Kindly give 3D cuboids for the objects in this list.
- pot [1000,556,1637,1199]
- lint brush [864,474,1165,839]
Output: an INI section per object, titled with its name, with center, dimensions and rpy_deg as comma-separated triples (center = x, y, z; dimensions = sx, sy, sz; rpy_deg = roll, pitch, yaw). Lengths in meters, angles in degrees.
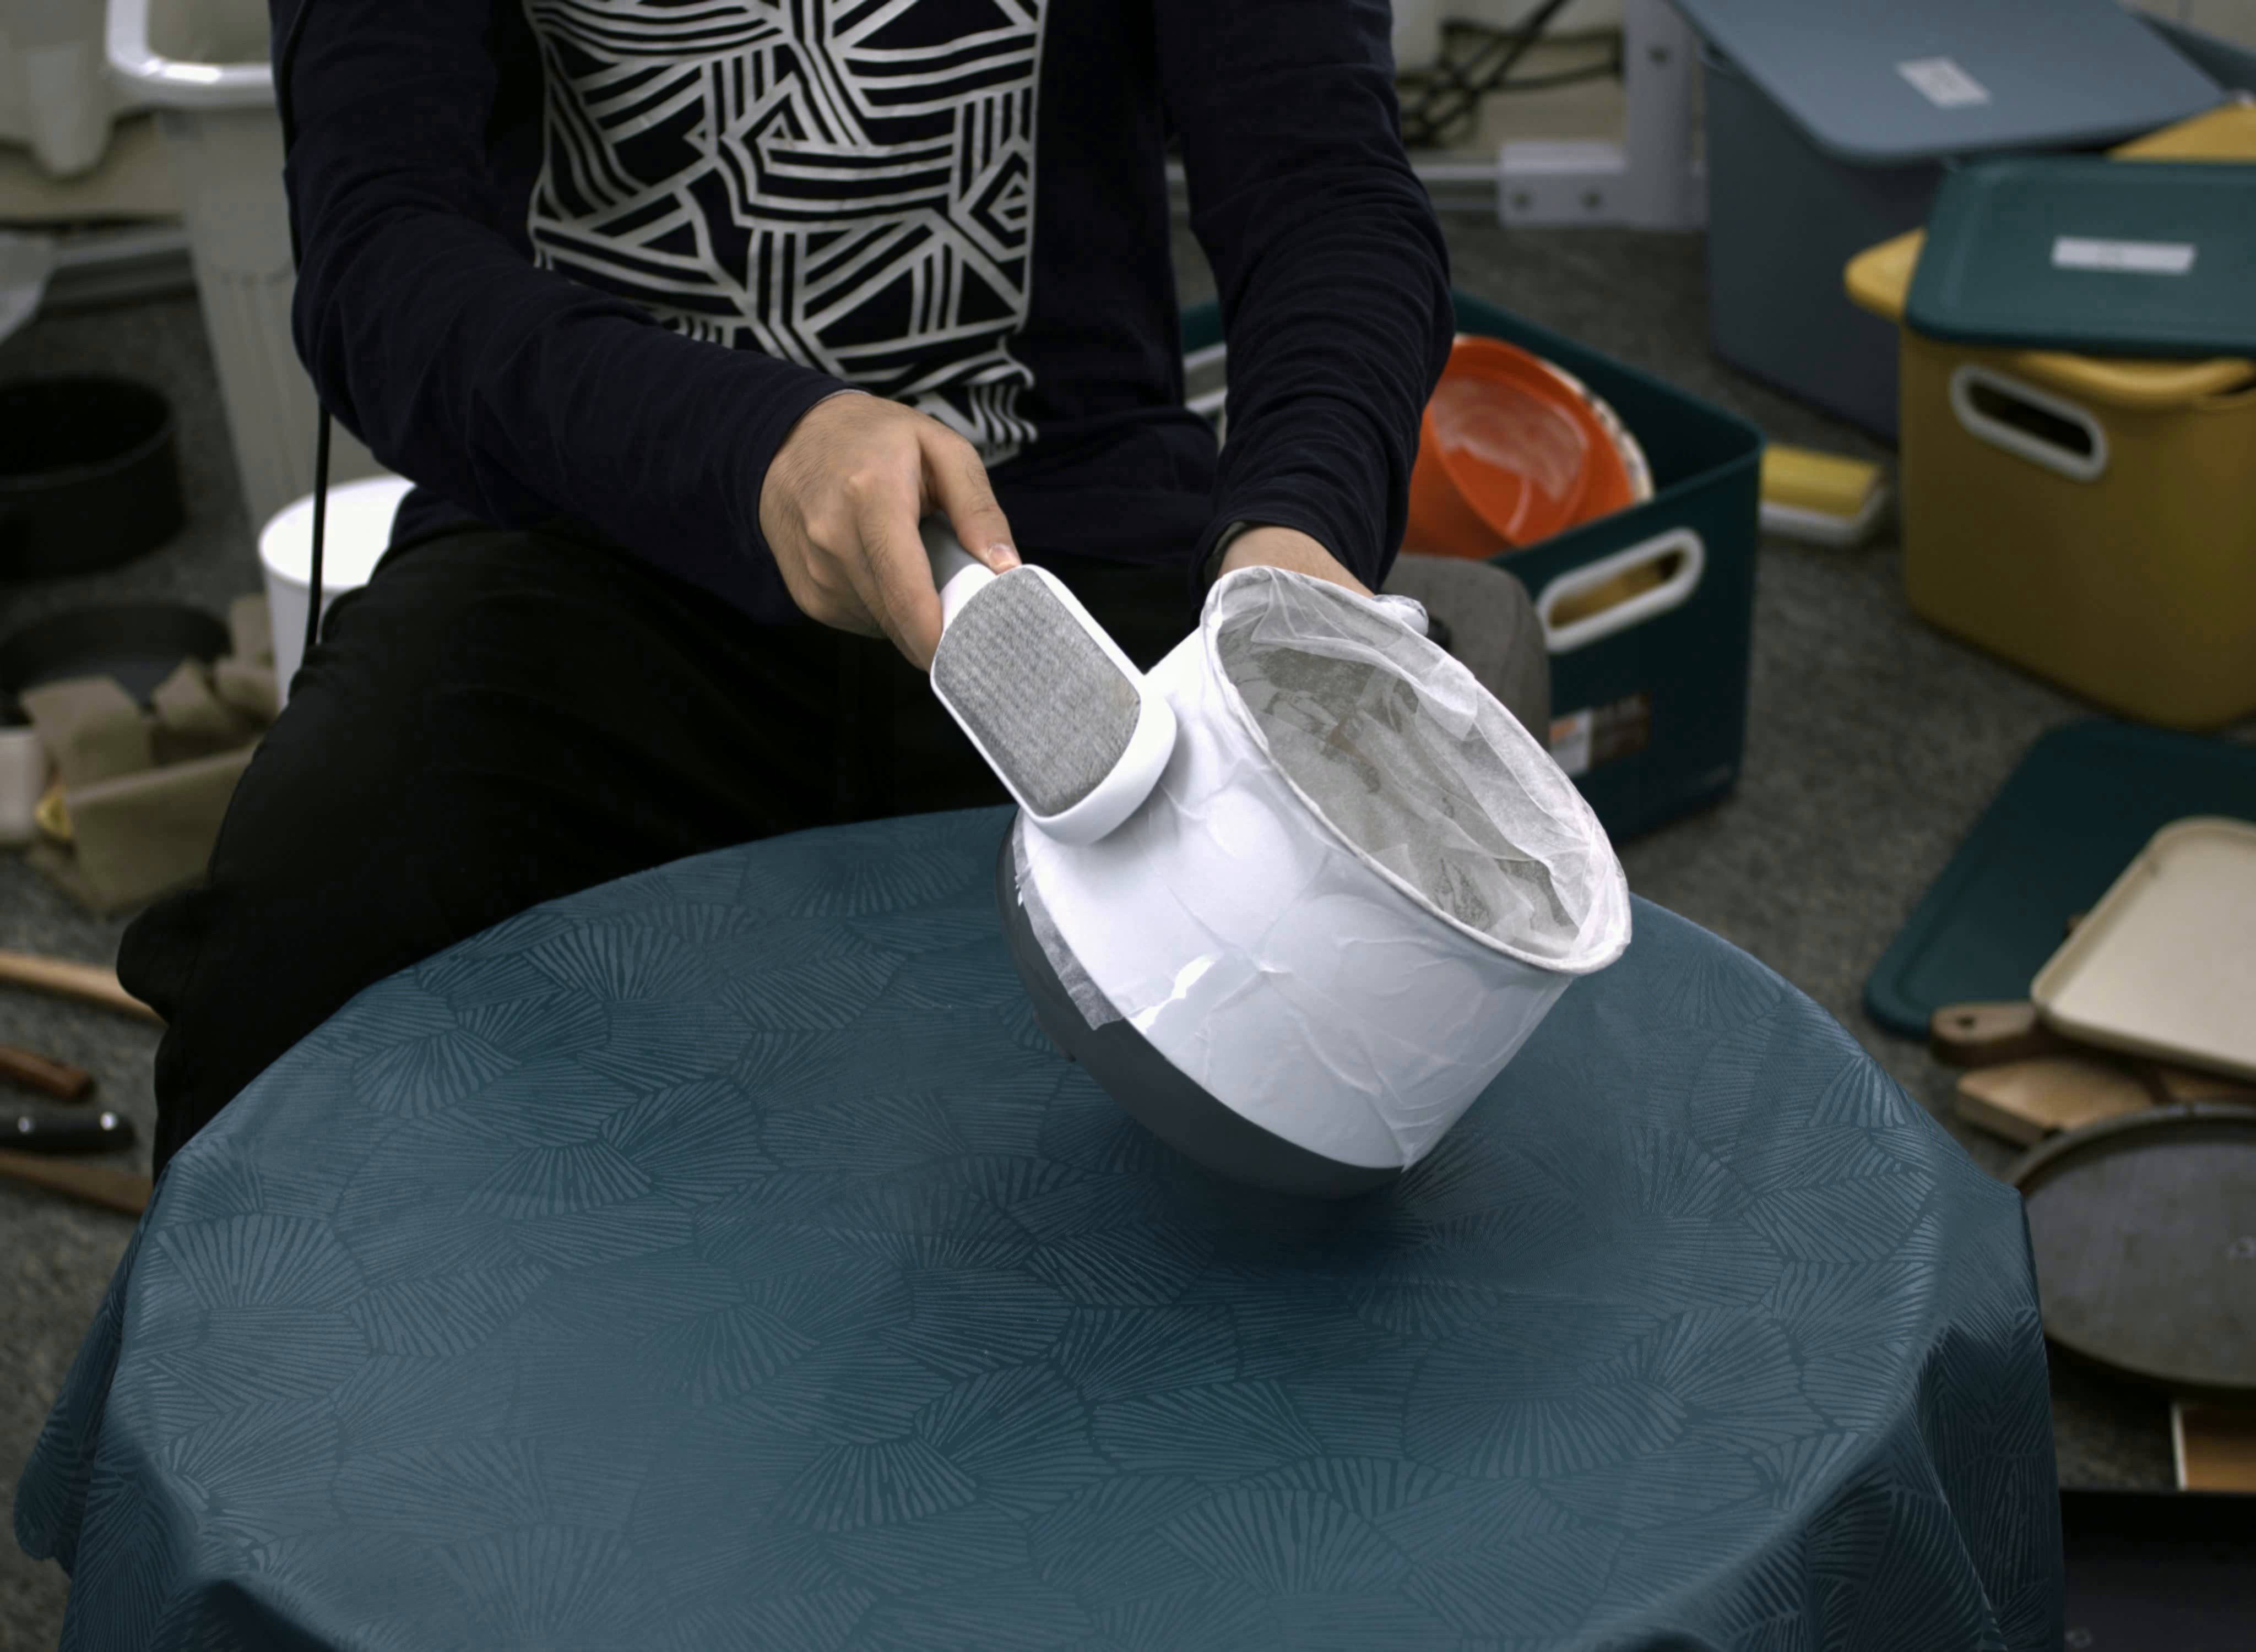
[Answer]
[pot]
center = 0.057, 0.006, 1.846
dimensions = 0.178, 0.135, 0.238
rpy_deg = 36, 25, -20
[lint brush]
center = -0.043, -0.066, 1.876
dimensions = 0.021, 0.060, 0.311
rpy_deg = 34, 7, -24
